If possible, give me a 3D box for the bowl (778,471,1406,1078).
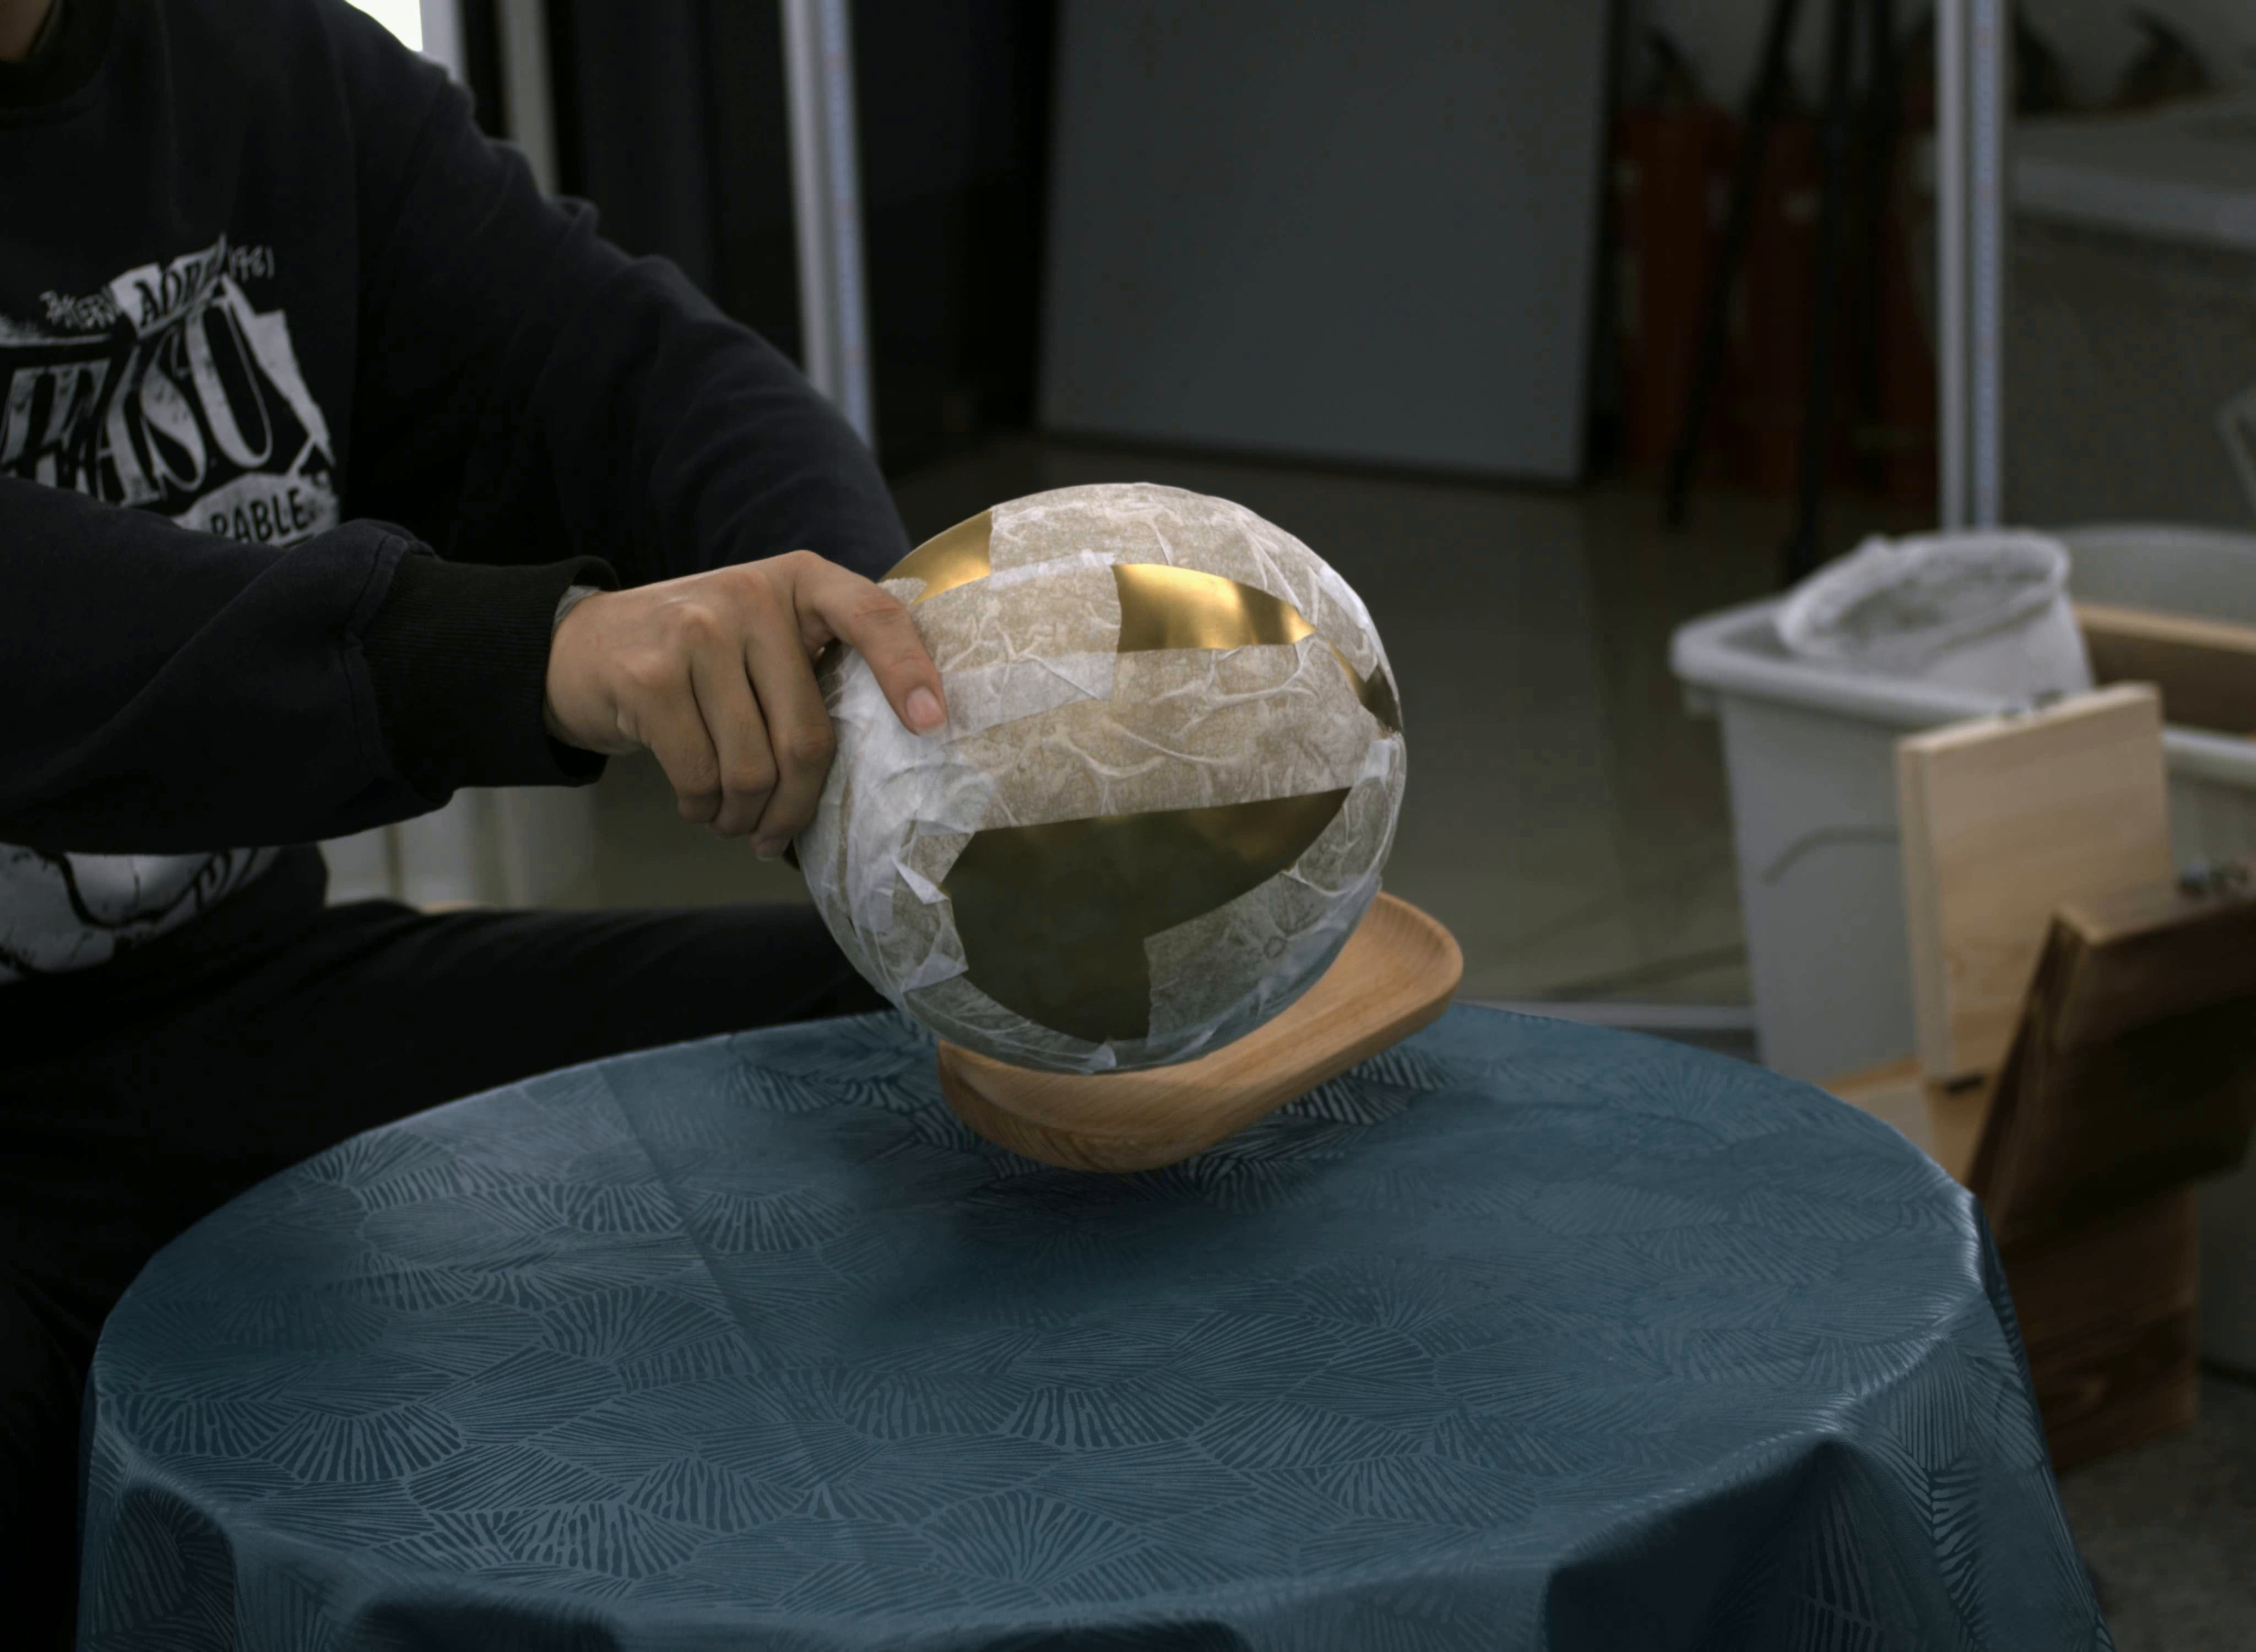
[{"bbox_3d":[-0.004,0.004,1.691,0.211,0.216,0.095,-5,30,-7],"label":"bowl"}]

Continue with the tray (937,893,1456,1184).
[{"bbox_3d":[0.025,0.068,1.815,0.102,0.020,0.227,23,32,30],"label":"tray"}]
